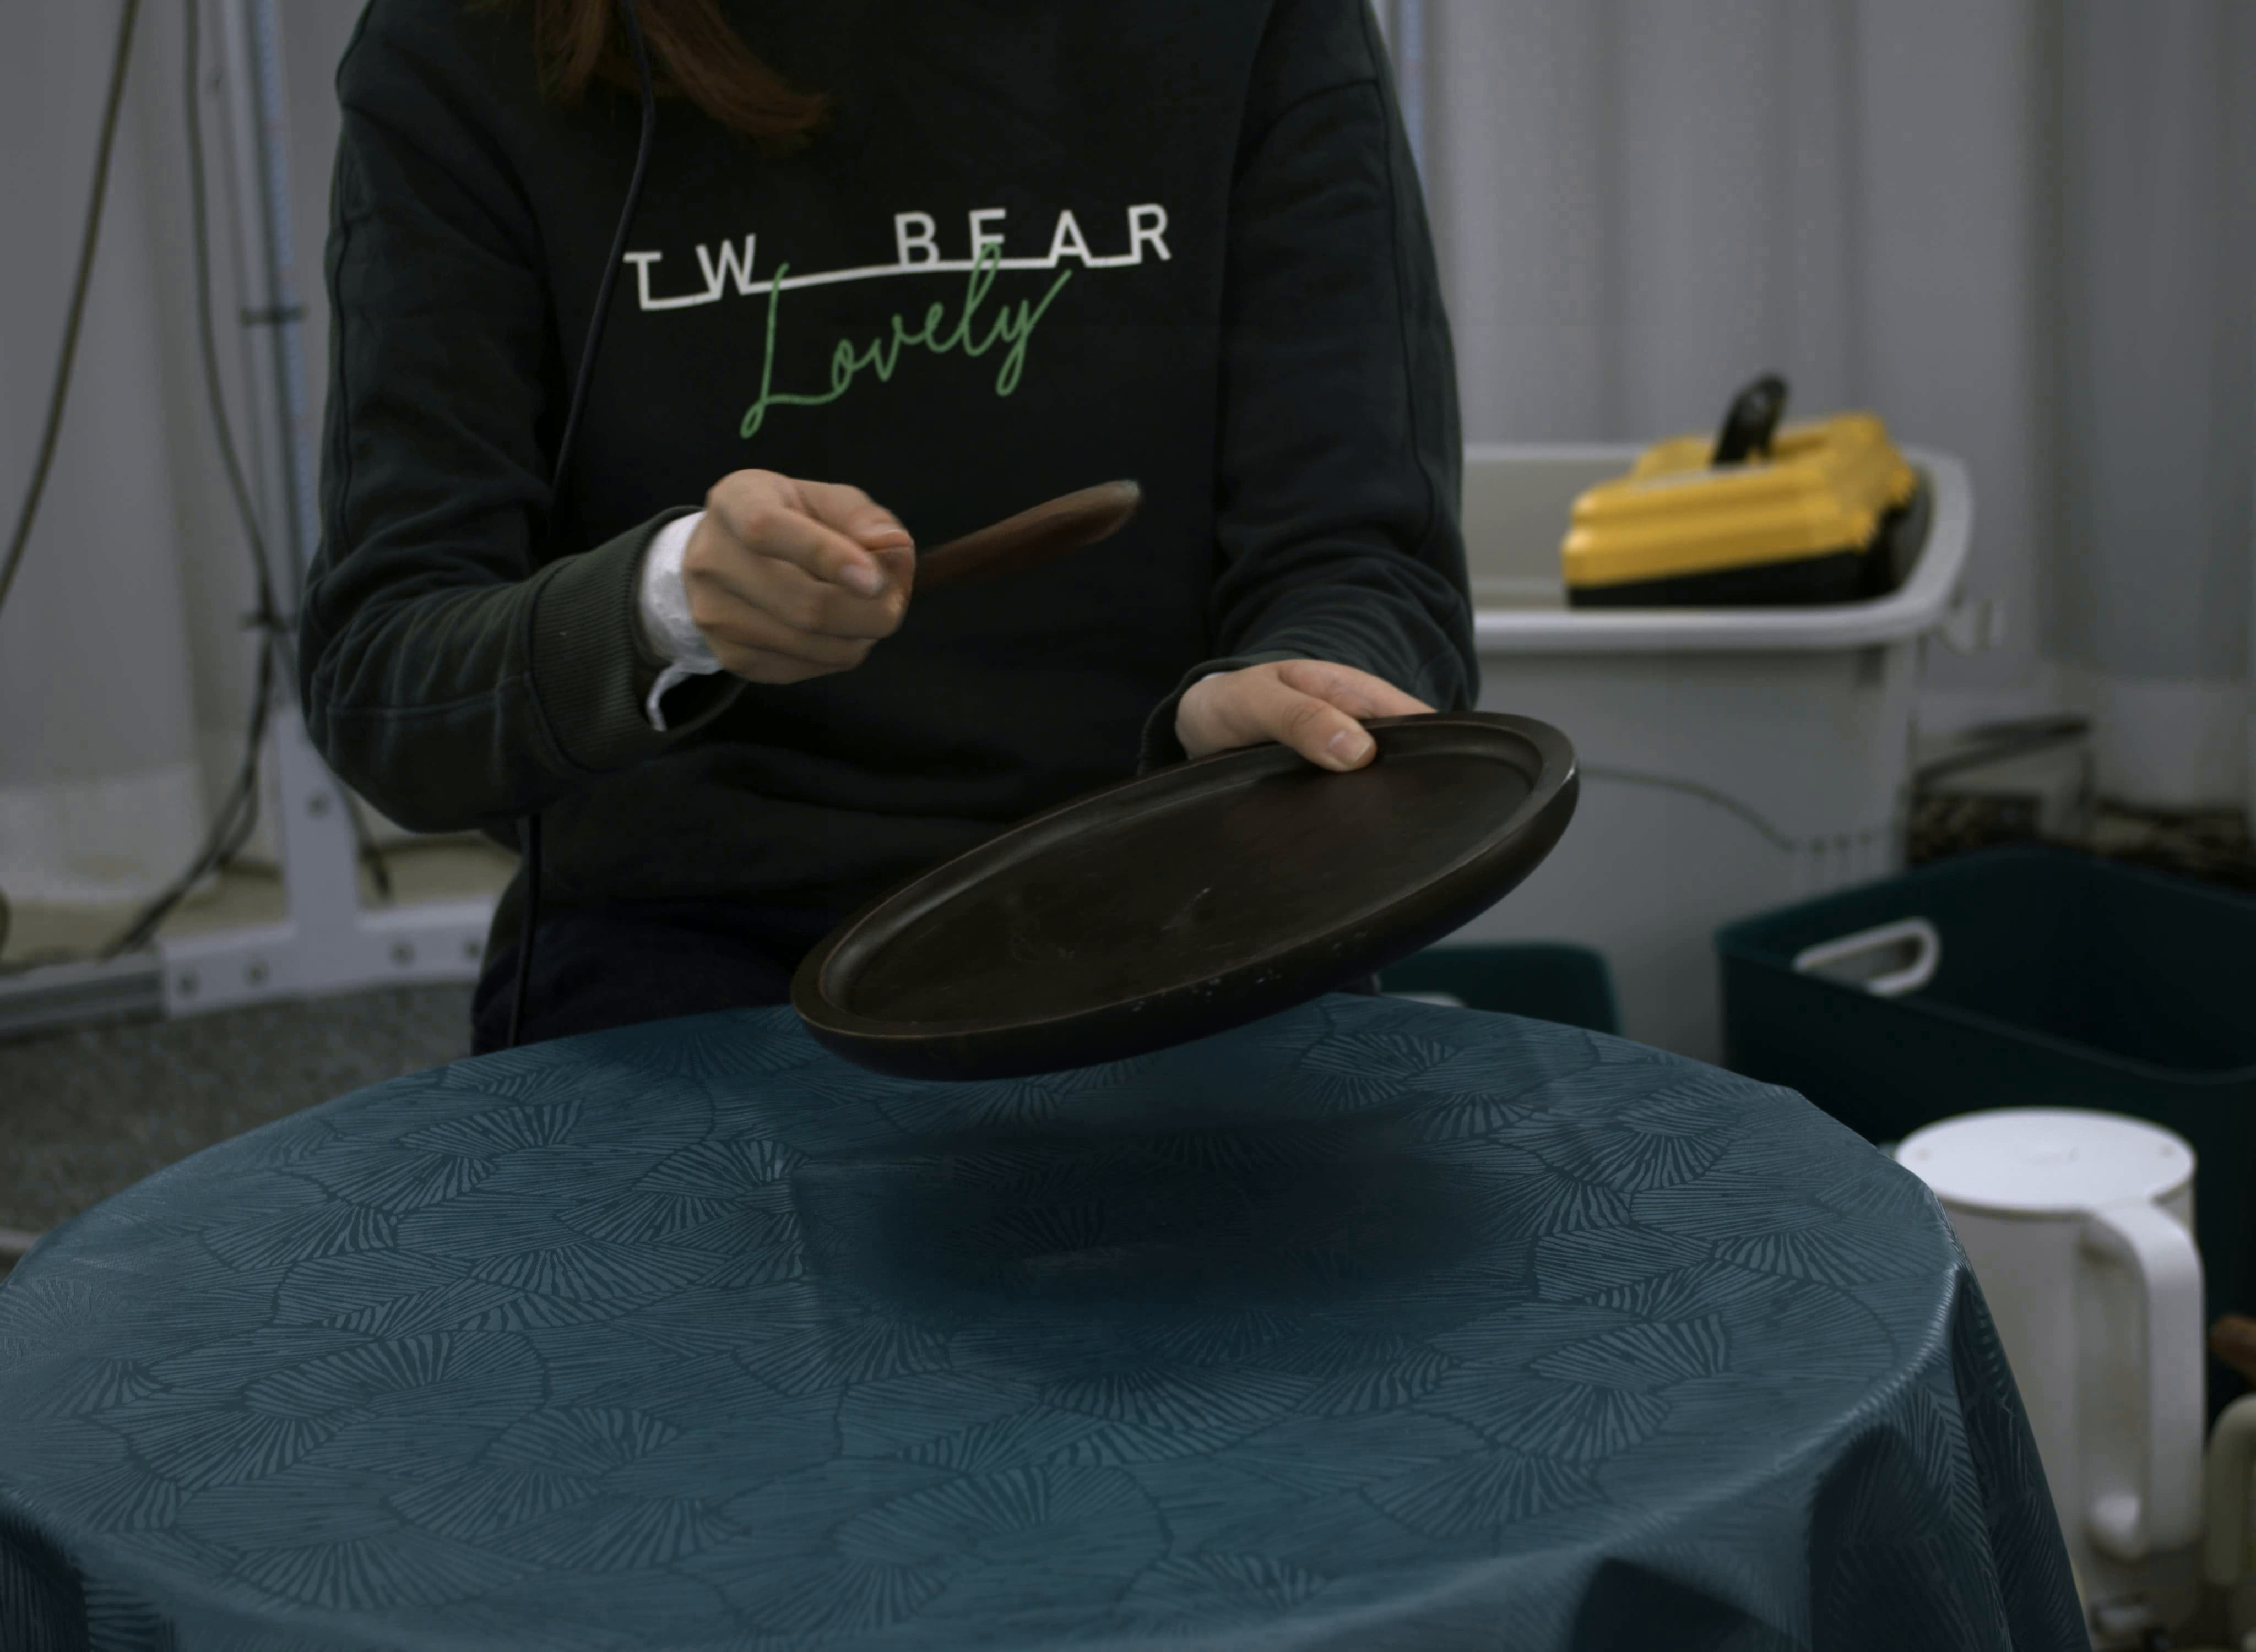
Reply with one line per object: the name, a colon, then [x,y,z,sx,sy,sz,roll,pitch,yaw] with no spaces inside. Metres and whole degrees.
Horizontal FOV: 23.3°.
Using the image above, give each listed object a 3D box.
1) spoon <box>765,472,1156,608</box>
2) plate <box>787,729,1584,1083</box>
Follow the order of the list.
spoon: [-0.059,-0.084,1.709,0.075,0.017,0.216,-24,9,-28]
plate: [0.018,0.023,1.680,0.254,0.029,0.256,-16,16,4]
